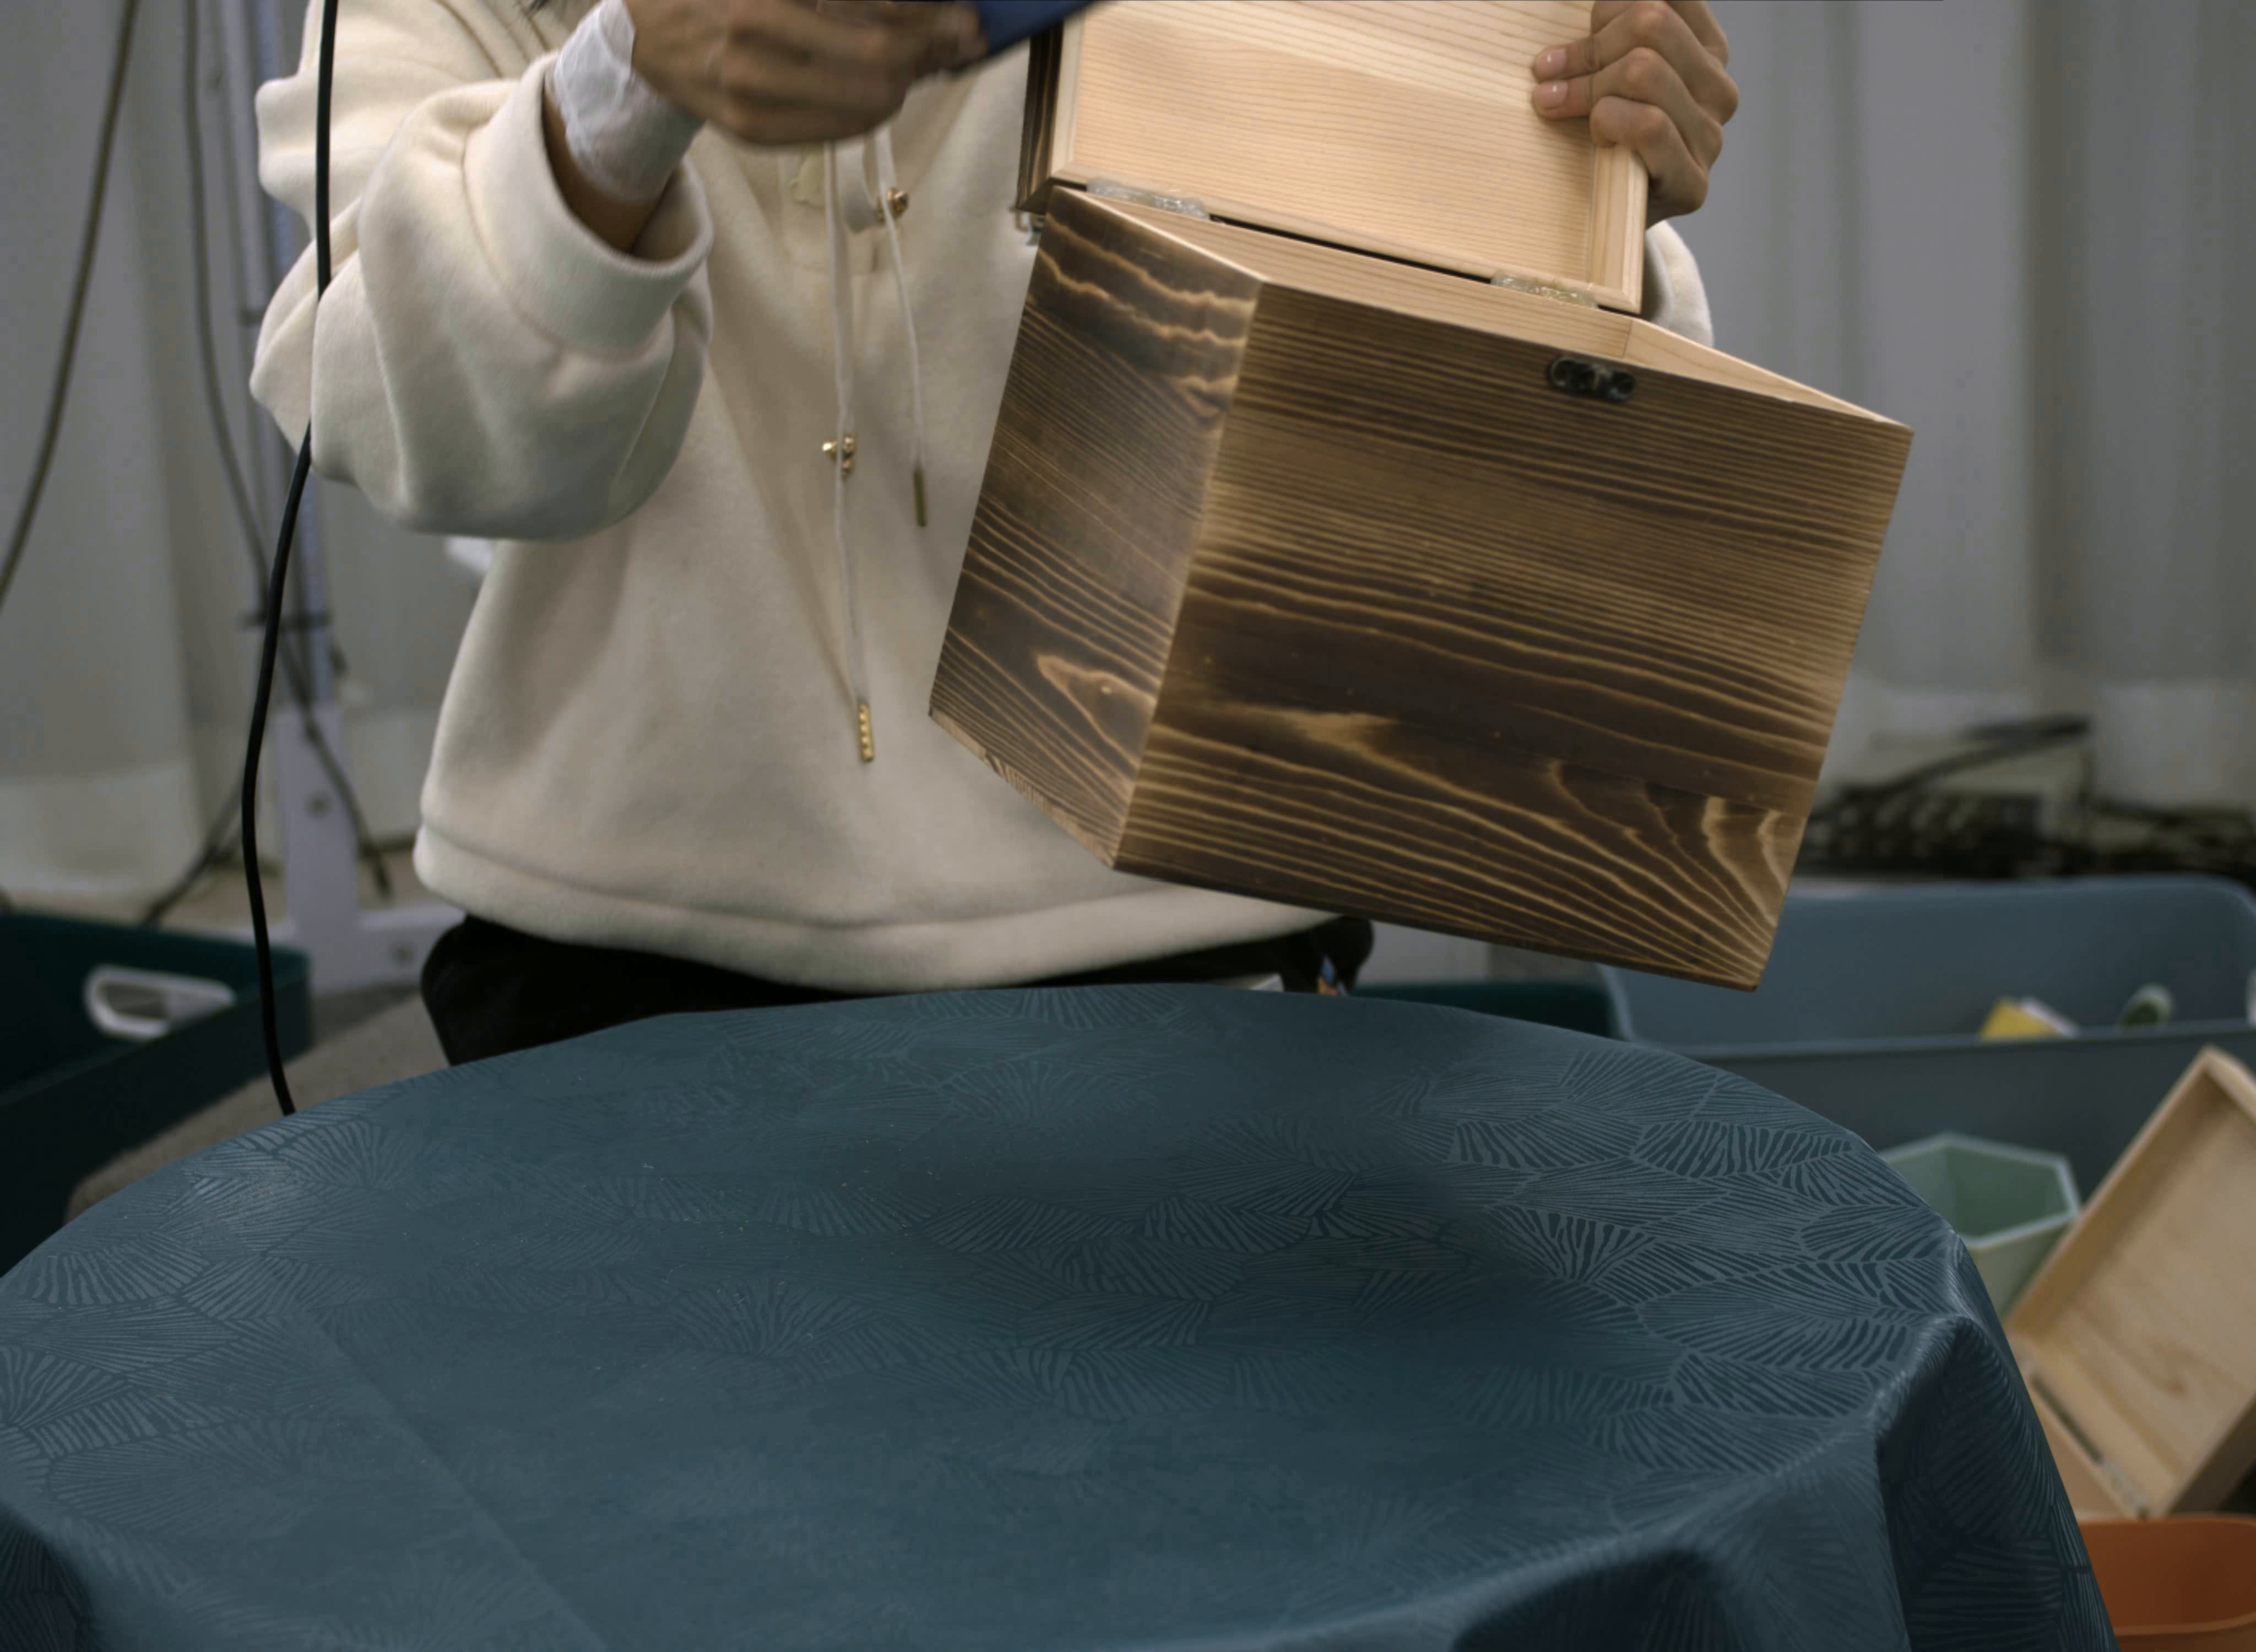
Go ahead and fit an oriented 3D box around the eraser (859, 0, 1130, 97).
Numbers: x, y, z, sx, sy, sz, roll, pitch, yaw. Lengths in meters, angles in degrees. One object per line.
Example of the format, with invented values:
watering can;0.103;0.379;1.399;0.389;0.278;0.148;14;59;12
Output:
eraser;-0.043;-0.267;1.689;0.047;0.054;0.162;16;-10;-21

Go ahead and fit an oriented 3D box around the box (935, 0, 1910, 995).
box;0.085;-0.176;1.648;0.207;0.375;0.324;11;8;-19
